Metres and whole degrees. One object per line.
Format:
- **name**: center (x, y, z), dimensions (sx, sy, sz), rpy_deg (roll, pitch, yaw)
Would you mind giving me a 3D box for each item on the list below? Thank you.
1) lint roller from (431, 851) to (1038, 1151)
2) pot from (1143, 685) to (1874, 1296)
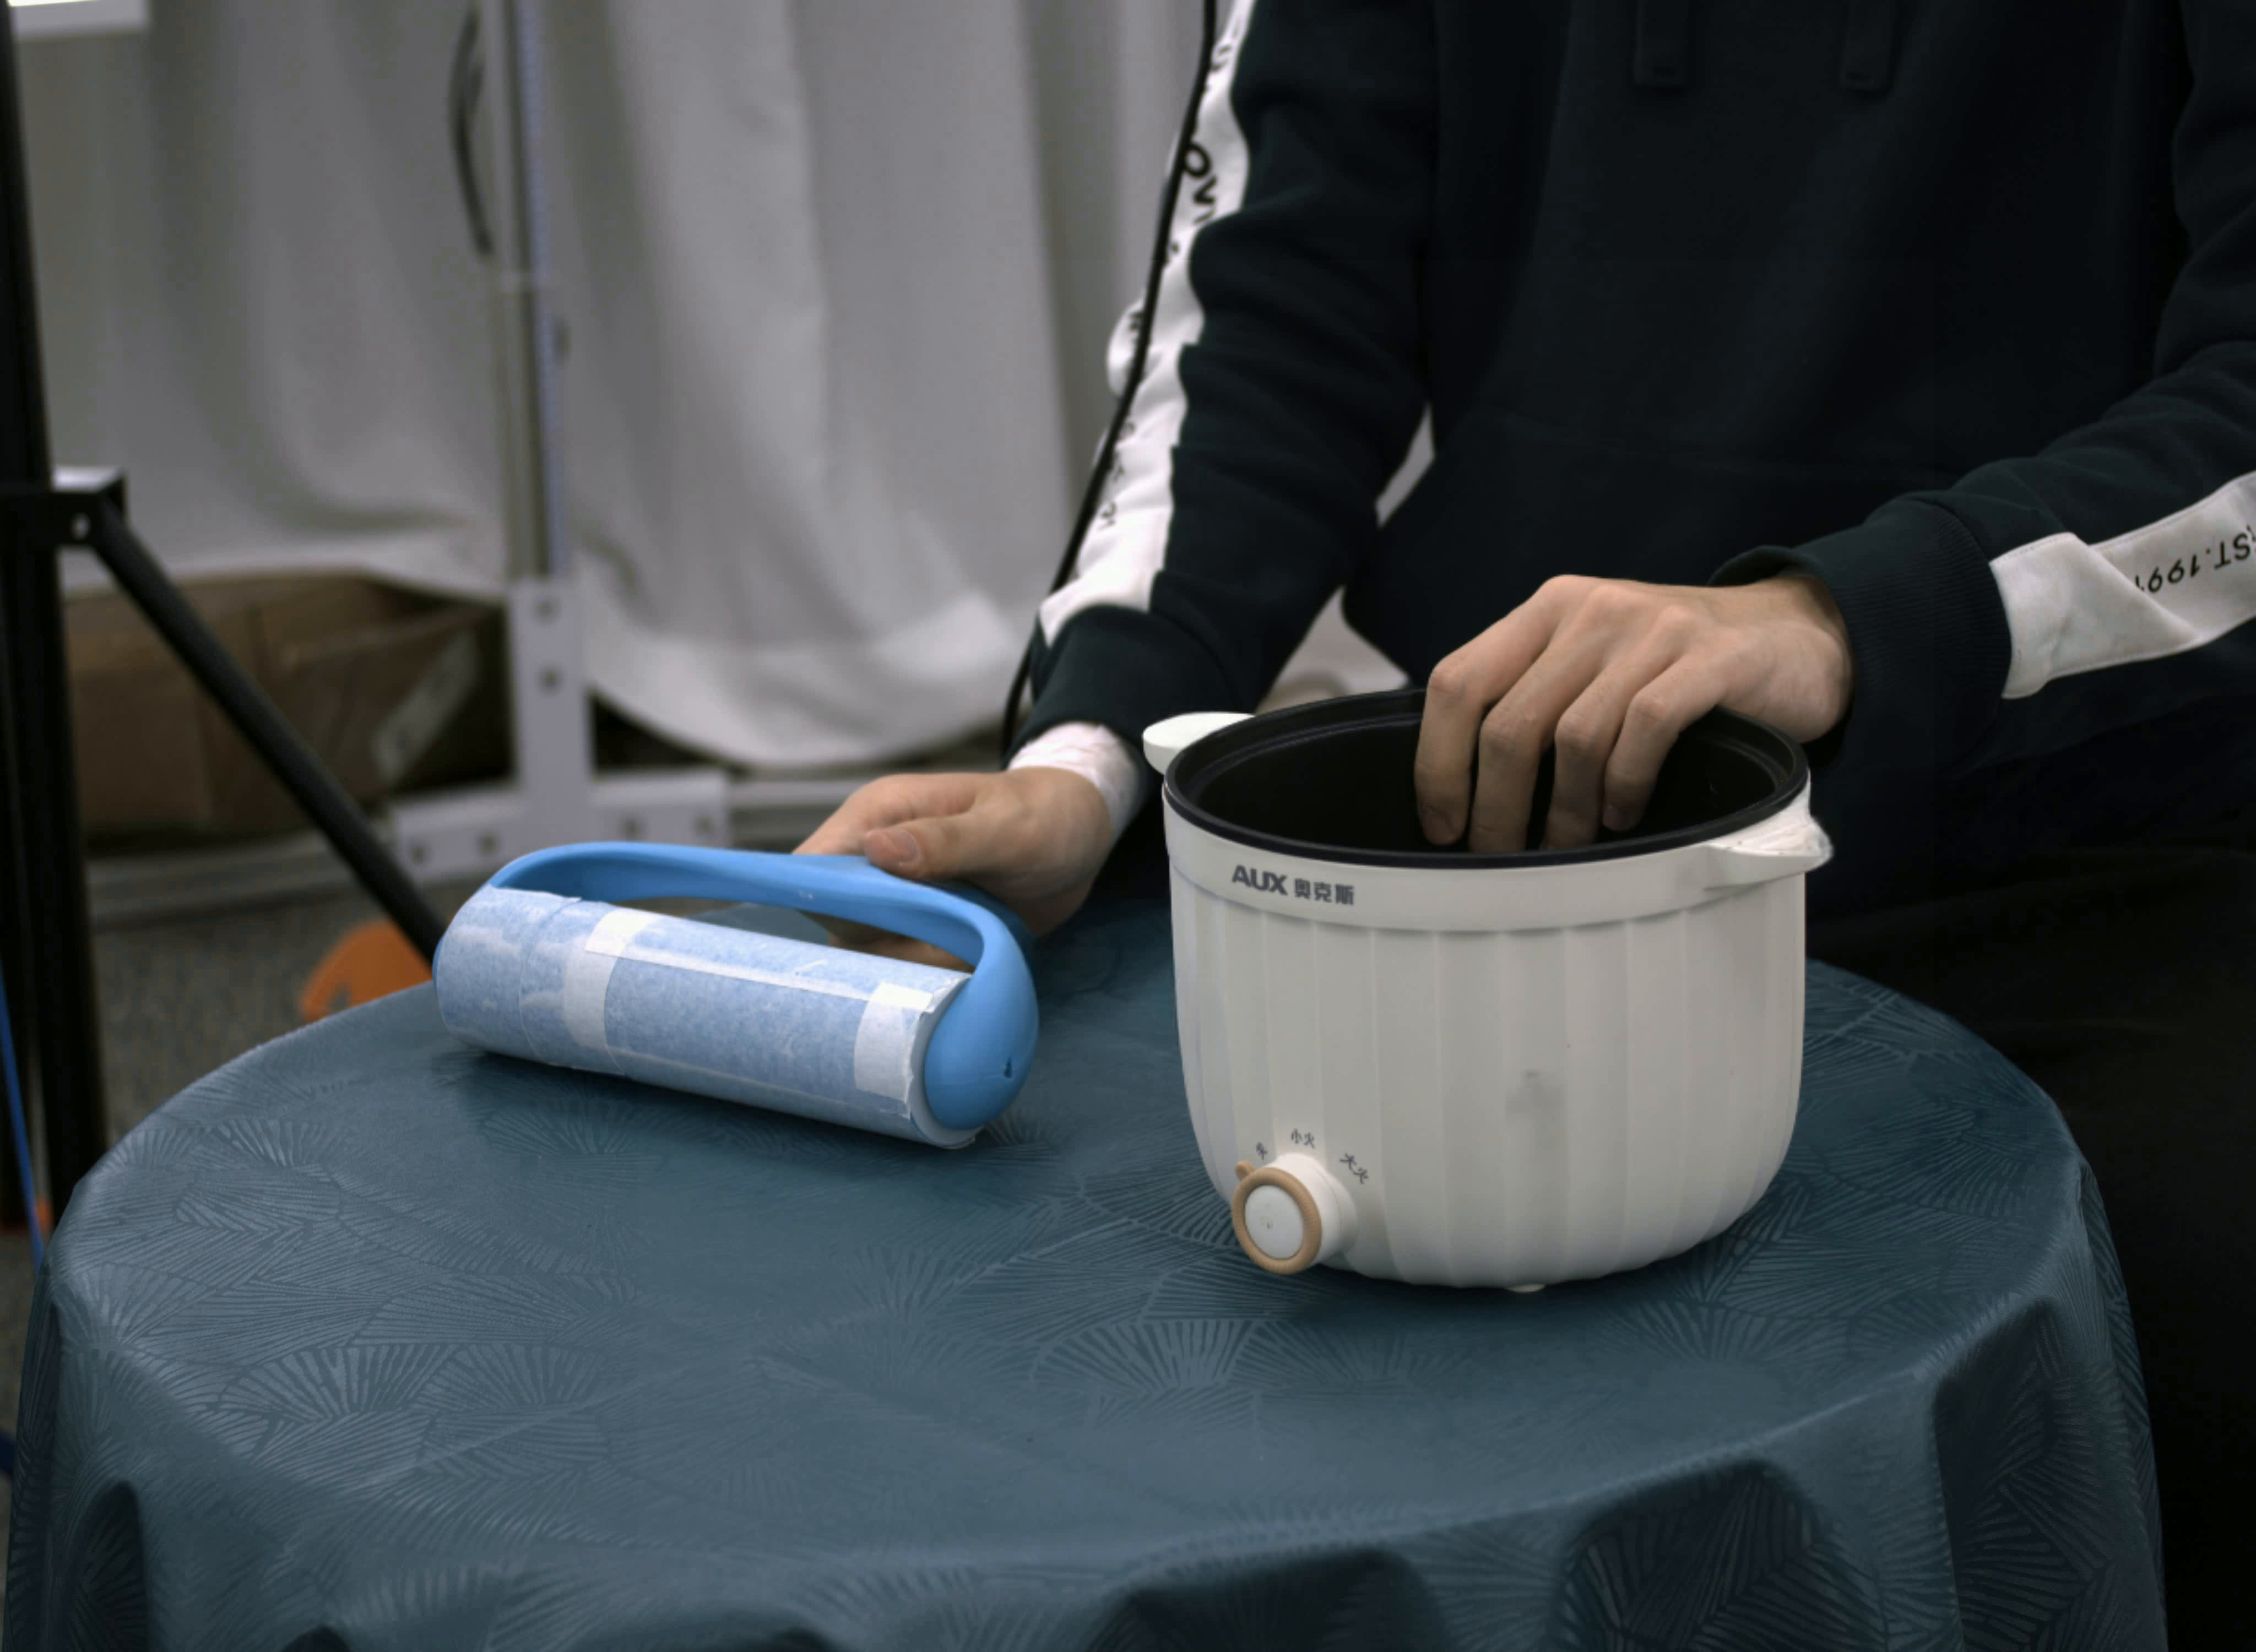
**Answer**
- **lint roller**: center (-0.094, 0.043, 1.701), dimensions (0.233, 0.068, 0.177), rpy_deg (6, 20, 35)
- **pot**: center (0.101, 0.049, 1.495), dimensions (0.245, 0.143, 0.186), rpy_deg (9, 16, 40)
